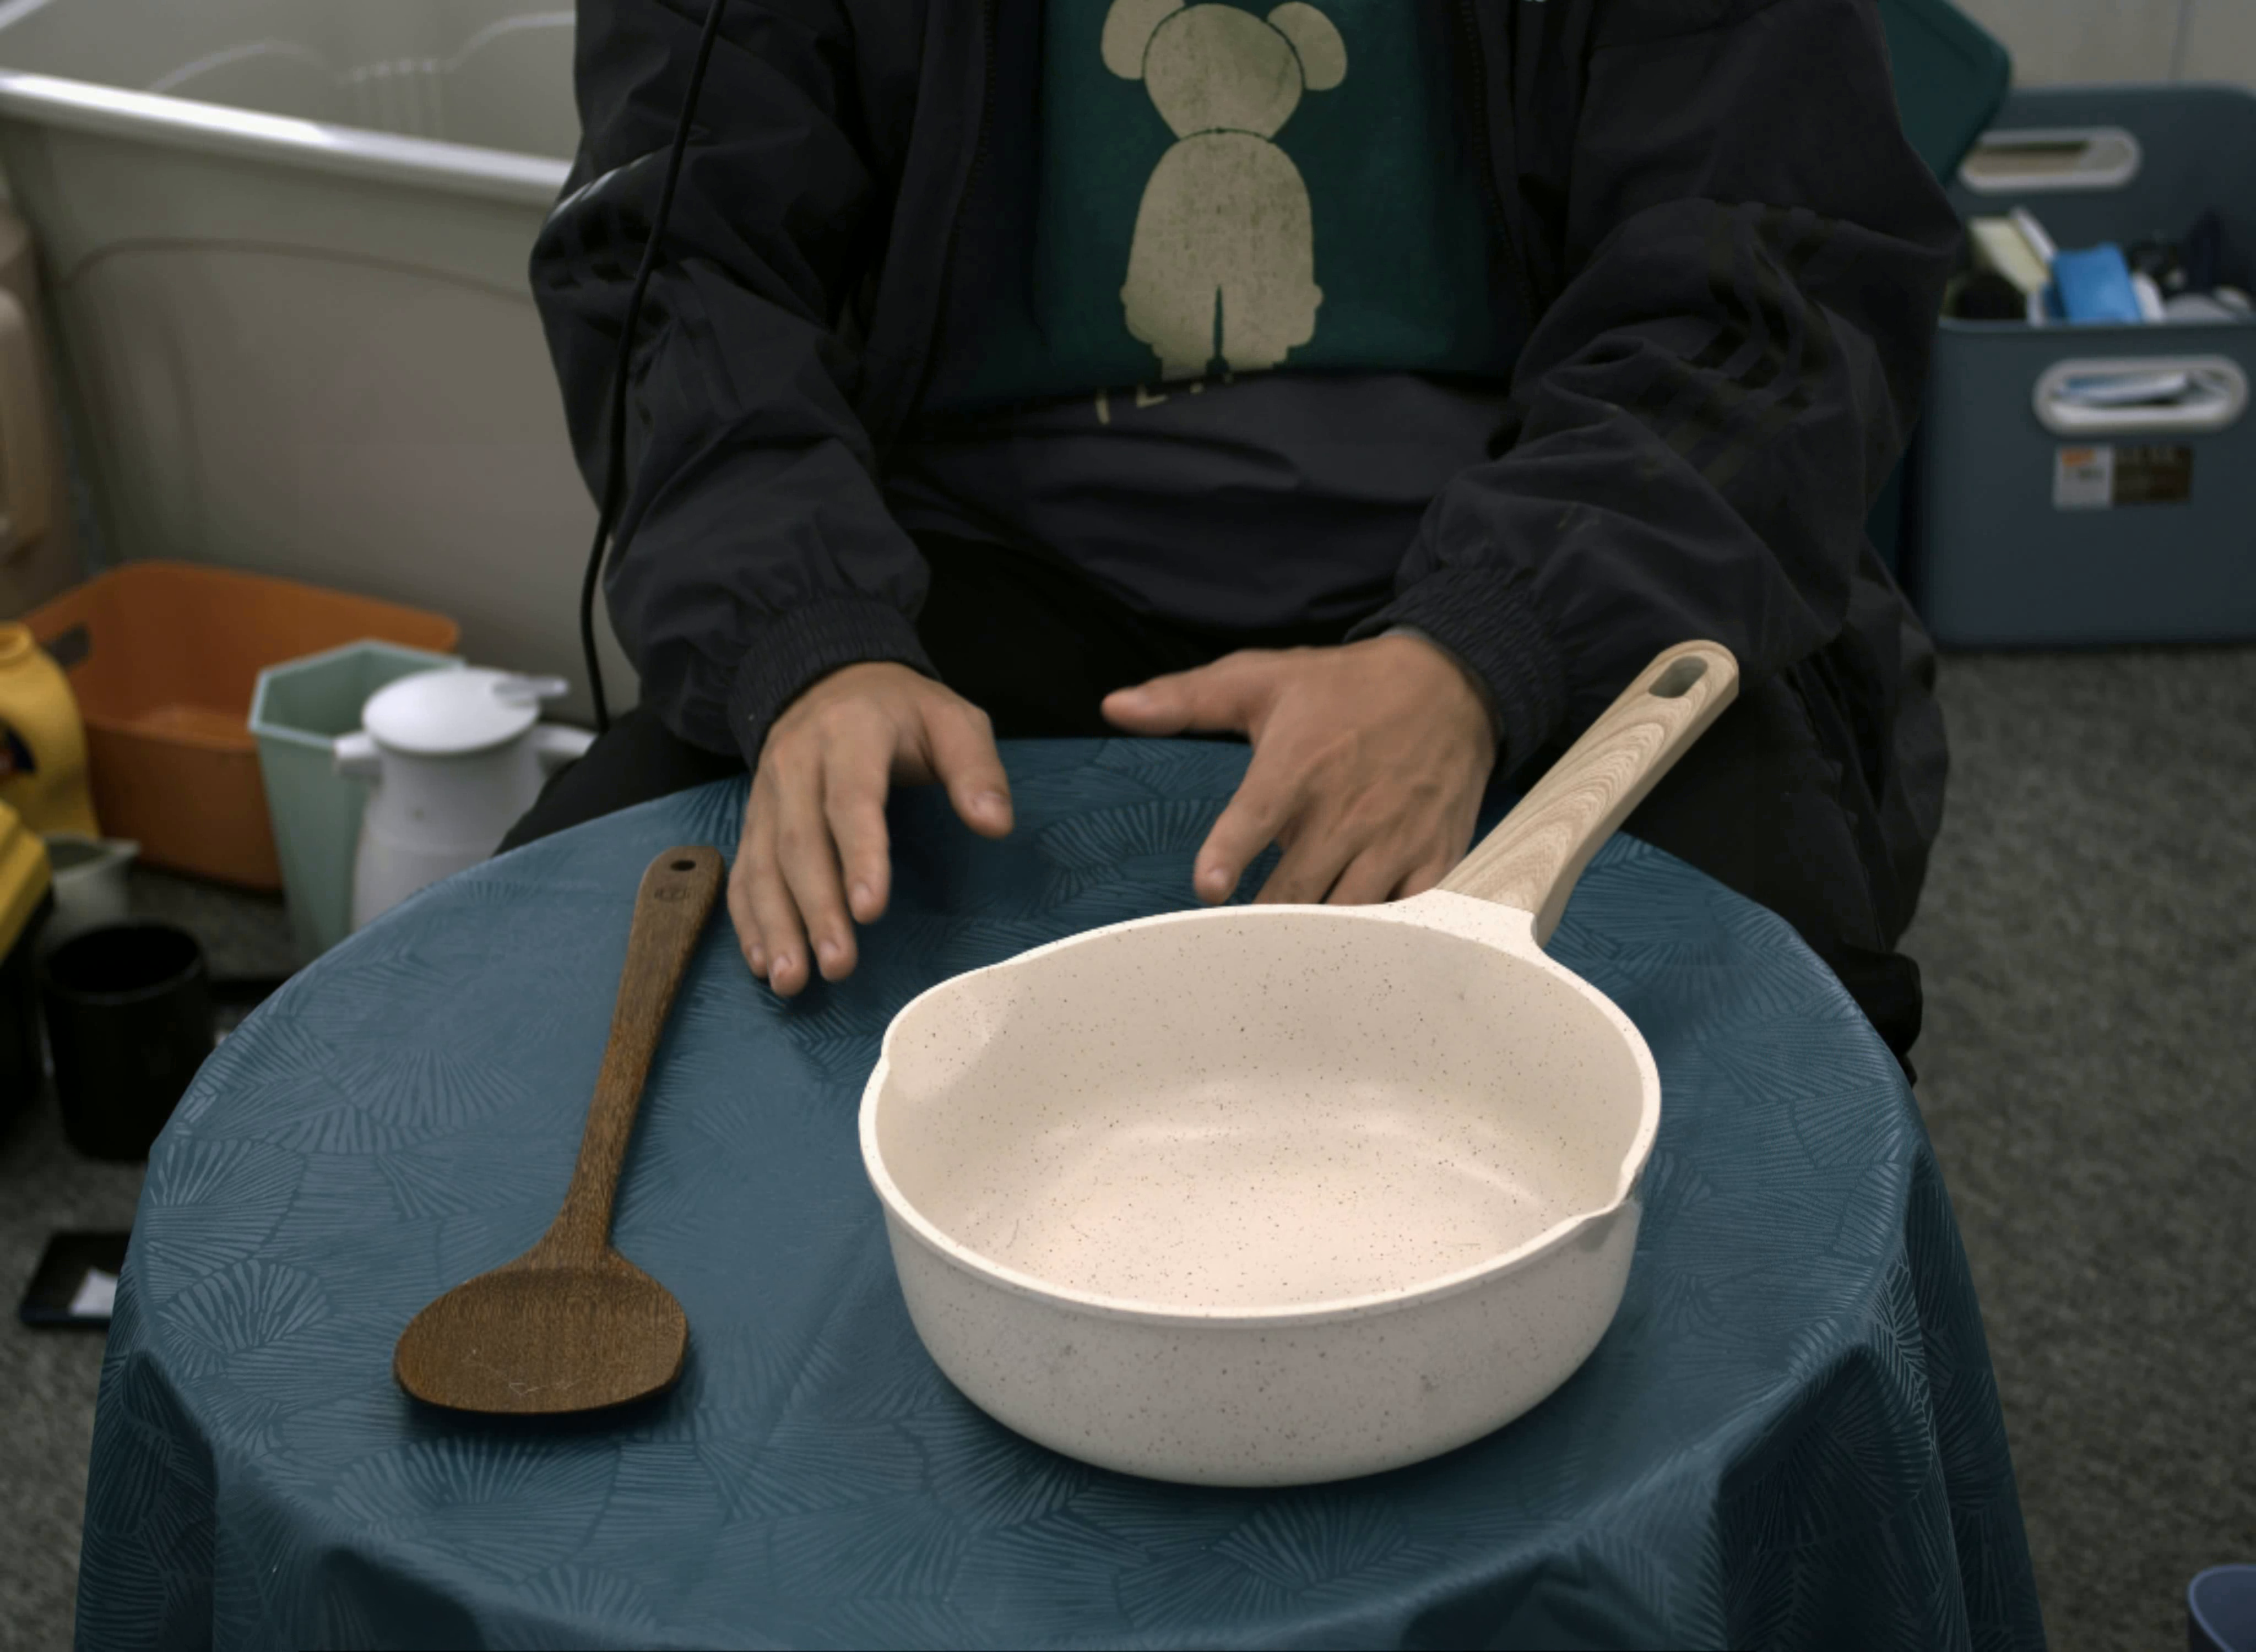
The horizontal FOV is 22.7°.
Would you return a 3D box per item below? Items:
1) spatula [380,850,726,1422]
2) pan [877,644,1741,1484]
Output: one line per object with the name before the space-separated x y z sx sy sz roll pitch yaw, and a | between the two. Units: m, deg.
spatula | -0.175 0.097 1.908 0.095 0.015 0.392 0 27 4
pan | 0.097 0.073 1.832 0.262 0.101 0.442 12 31 30
